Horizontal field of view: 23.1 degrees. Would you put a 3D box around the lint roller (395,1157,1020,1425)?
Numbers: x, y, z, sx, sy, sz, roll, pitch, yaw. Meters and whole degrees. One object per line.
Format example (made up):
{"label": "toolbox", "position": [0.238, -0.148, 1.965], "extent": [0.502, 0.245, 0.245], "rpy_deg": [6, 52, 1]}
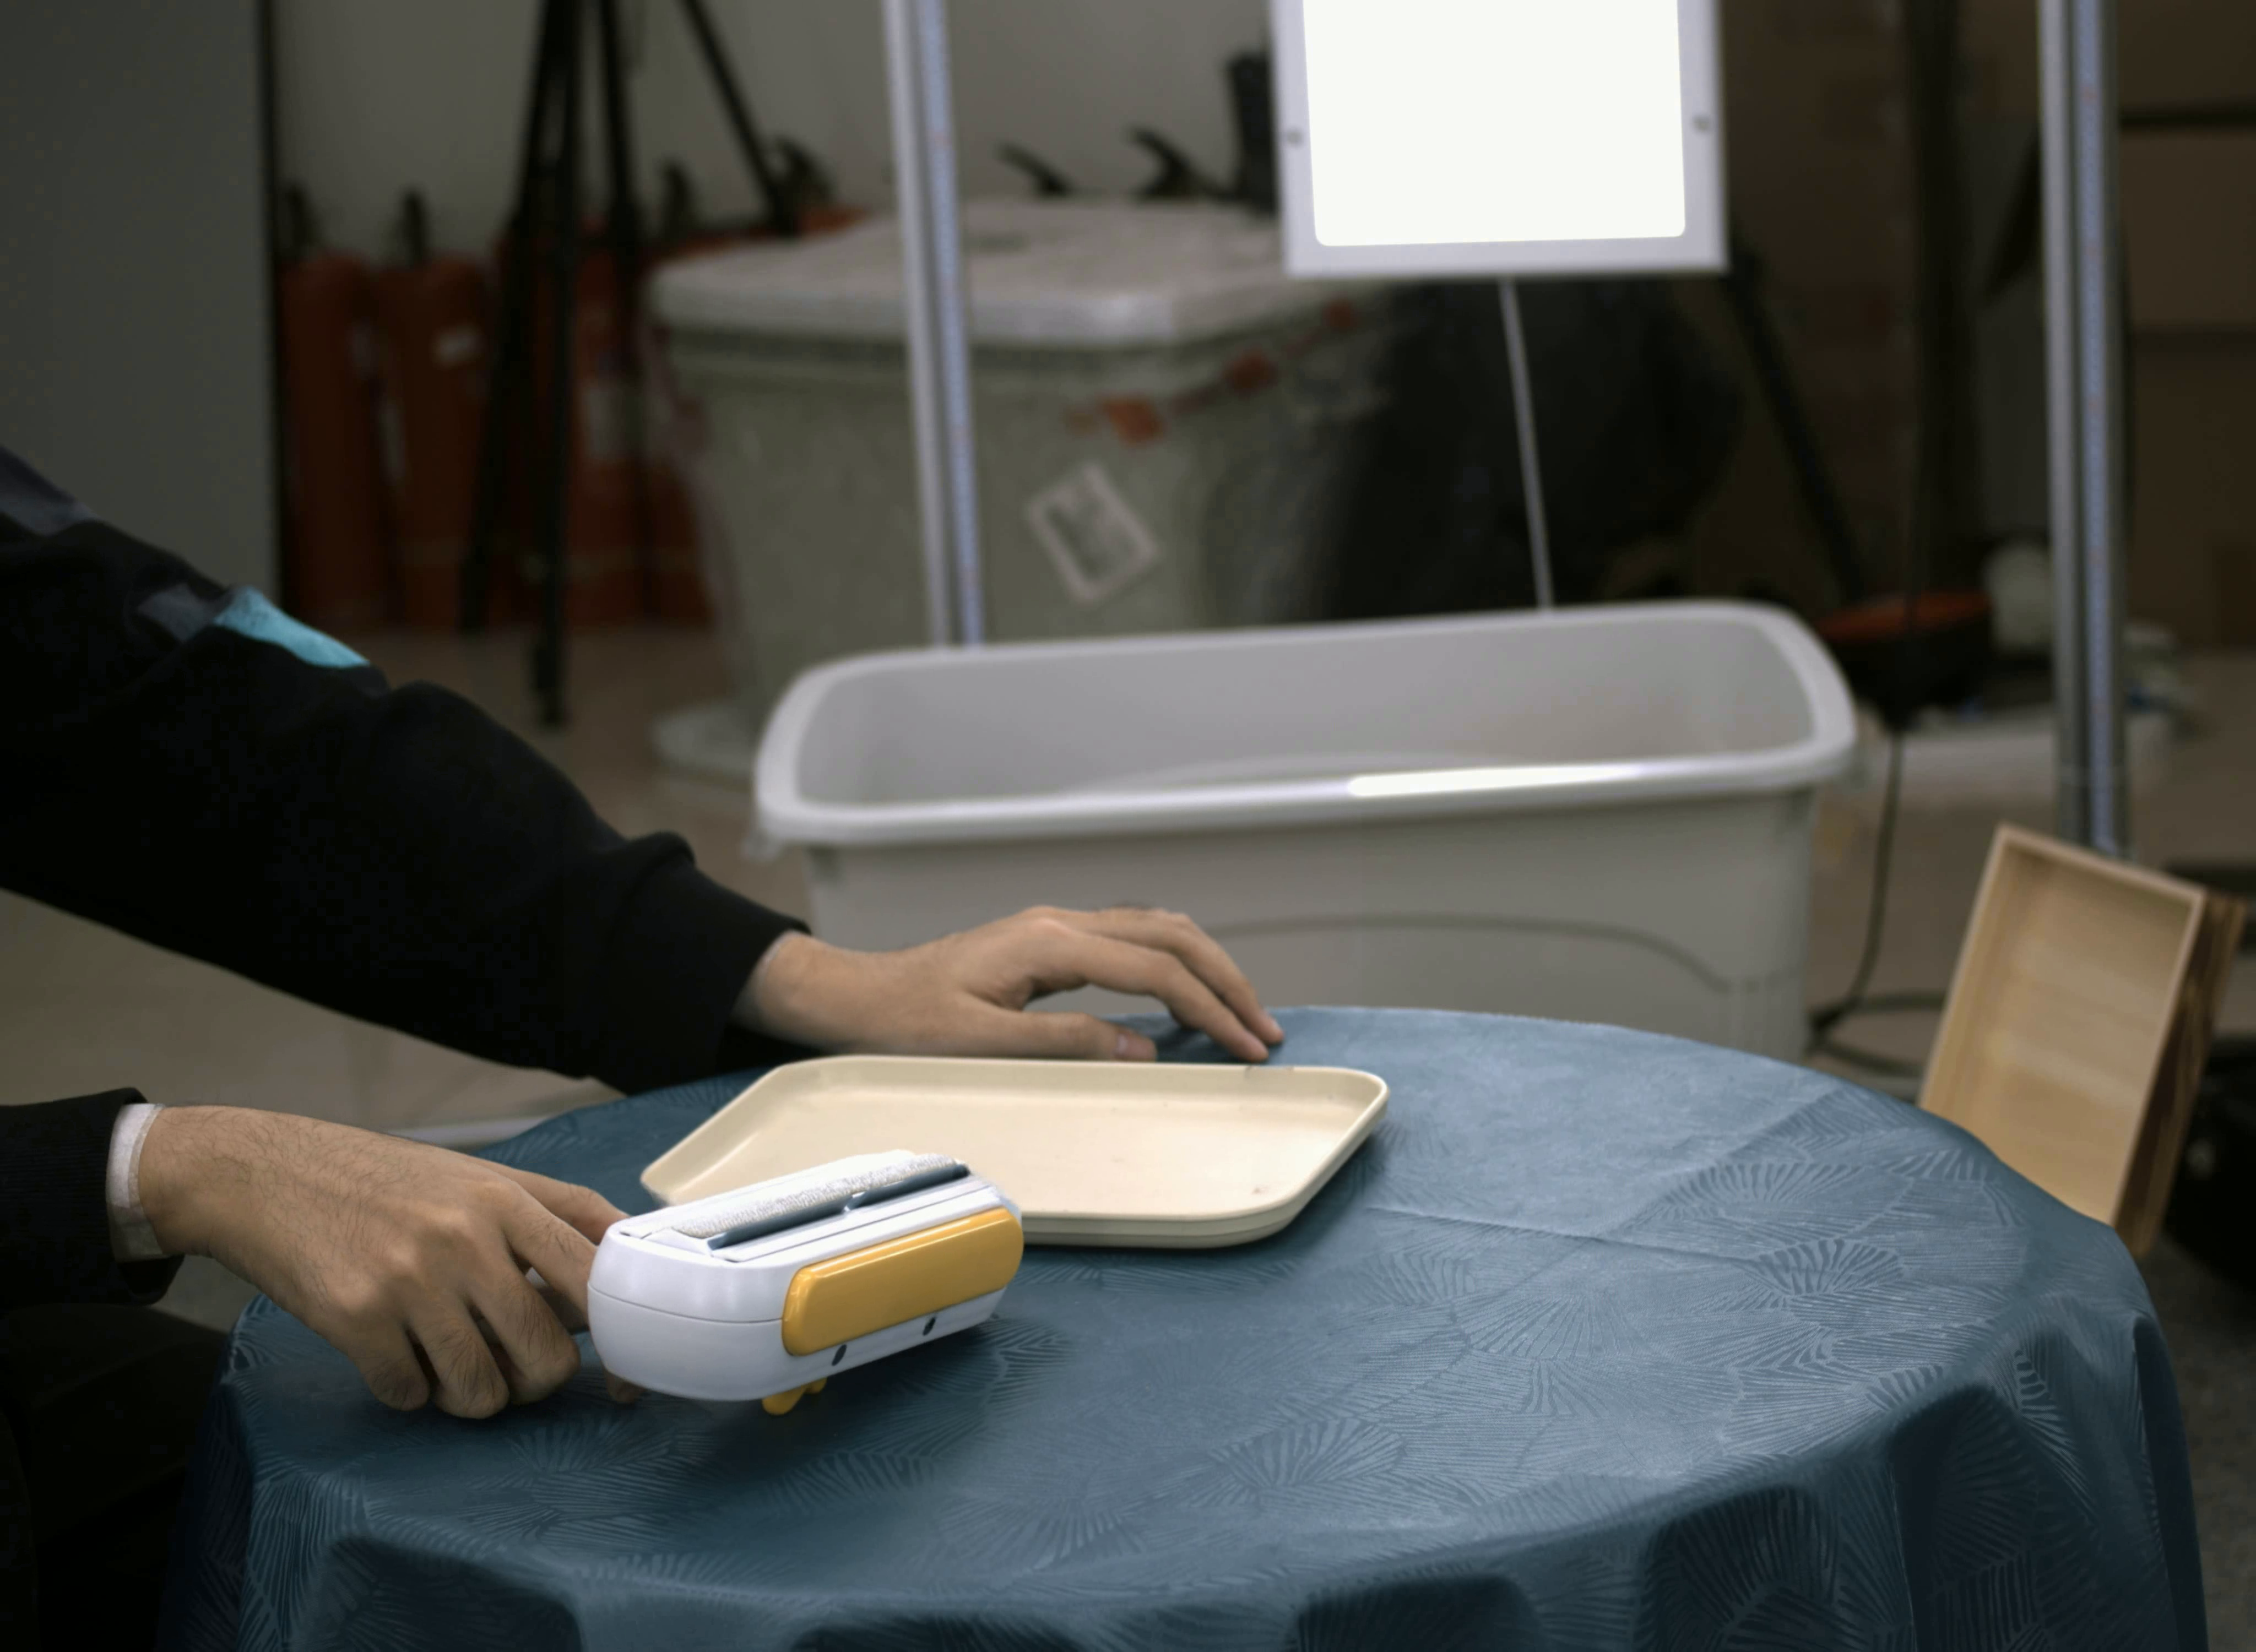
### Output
{"label": "lint roller", "position": [-0.151, 0.144, 1.736], "extent": [0.196, 0.074, 0.188], "rpy_deg": [2, 10, 32]}

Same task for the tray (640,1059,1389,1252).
{"label": "tray", "position": [-0.038, 0.115, 1.921], "extent": [0.243, 0.017, 0.168], "rpy_deg": [0, 15, 21]}
